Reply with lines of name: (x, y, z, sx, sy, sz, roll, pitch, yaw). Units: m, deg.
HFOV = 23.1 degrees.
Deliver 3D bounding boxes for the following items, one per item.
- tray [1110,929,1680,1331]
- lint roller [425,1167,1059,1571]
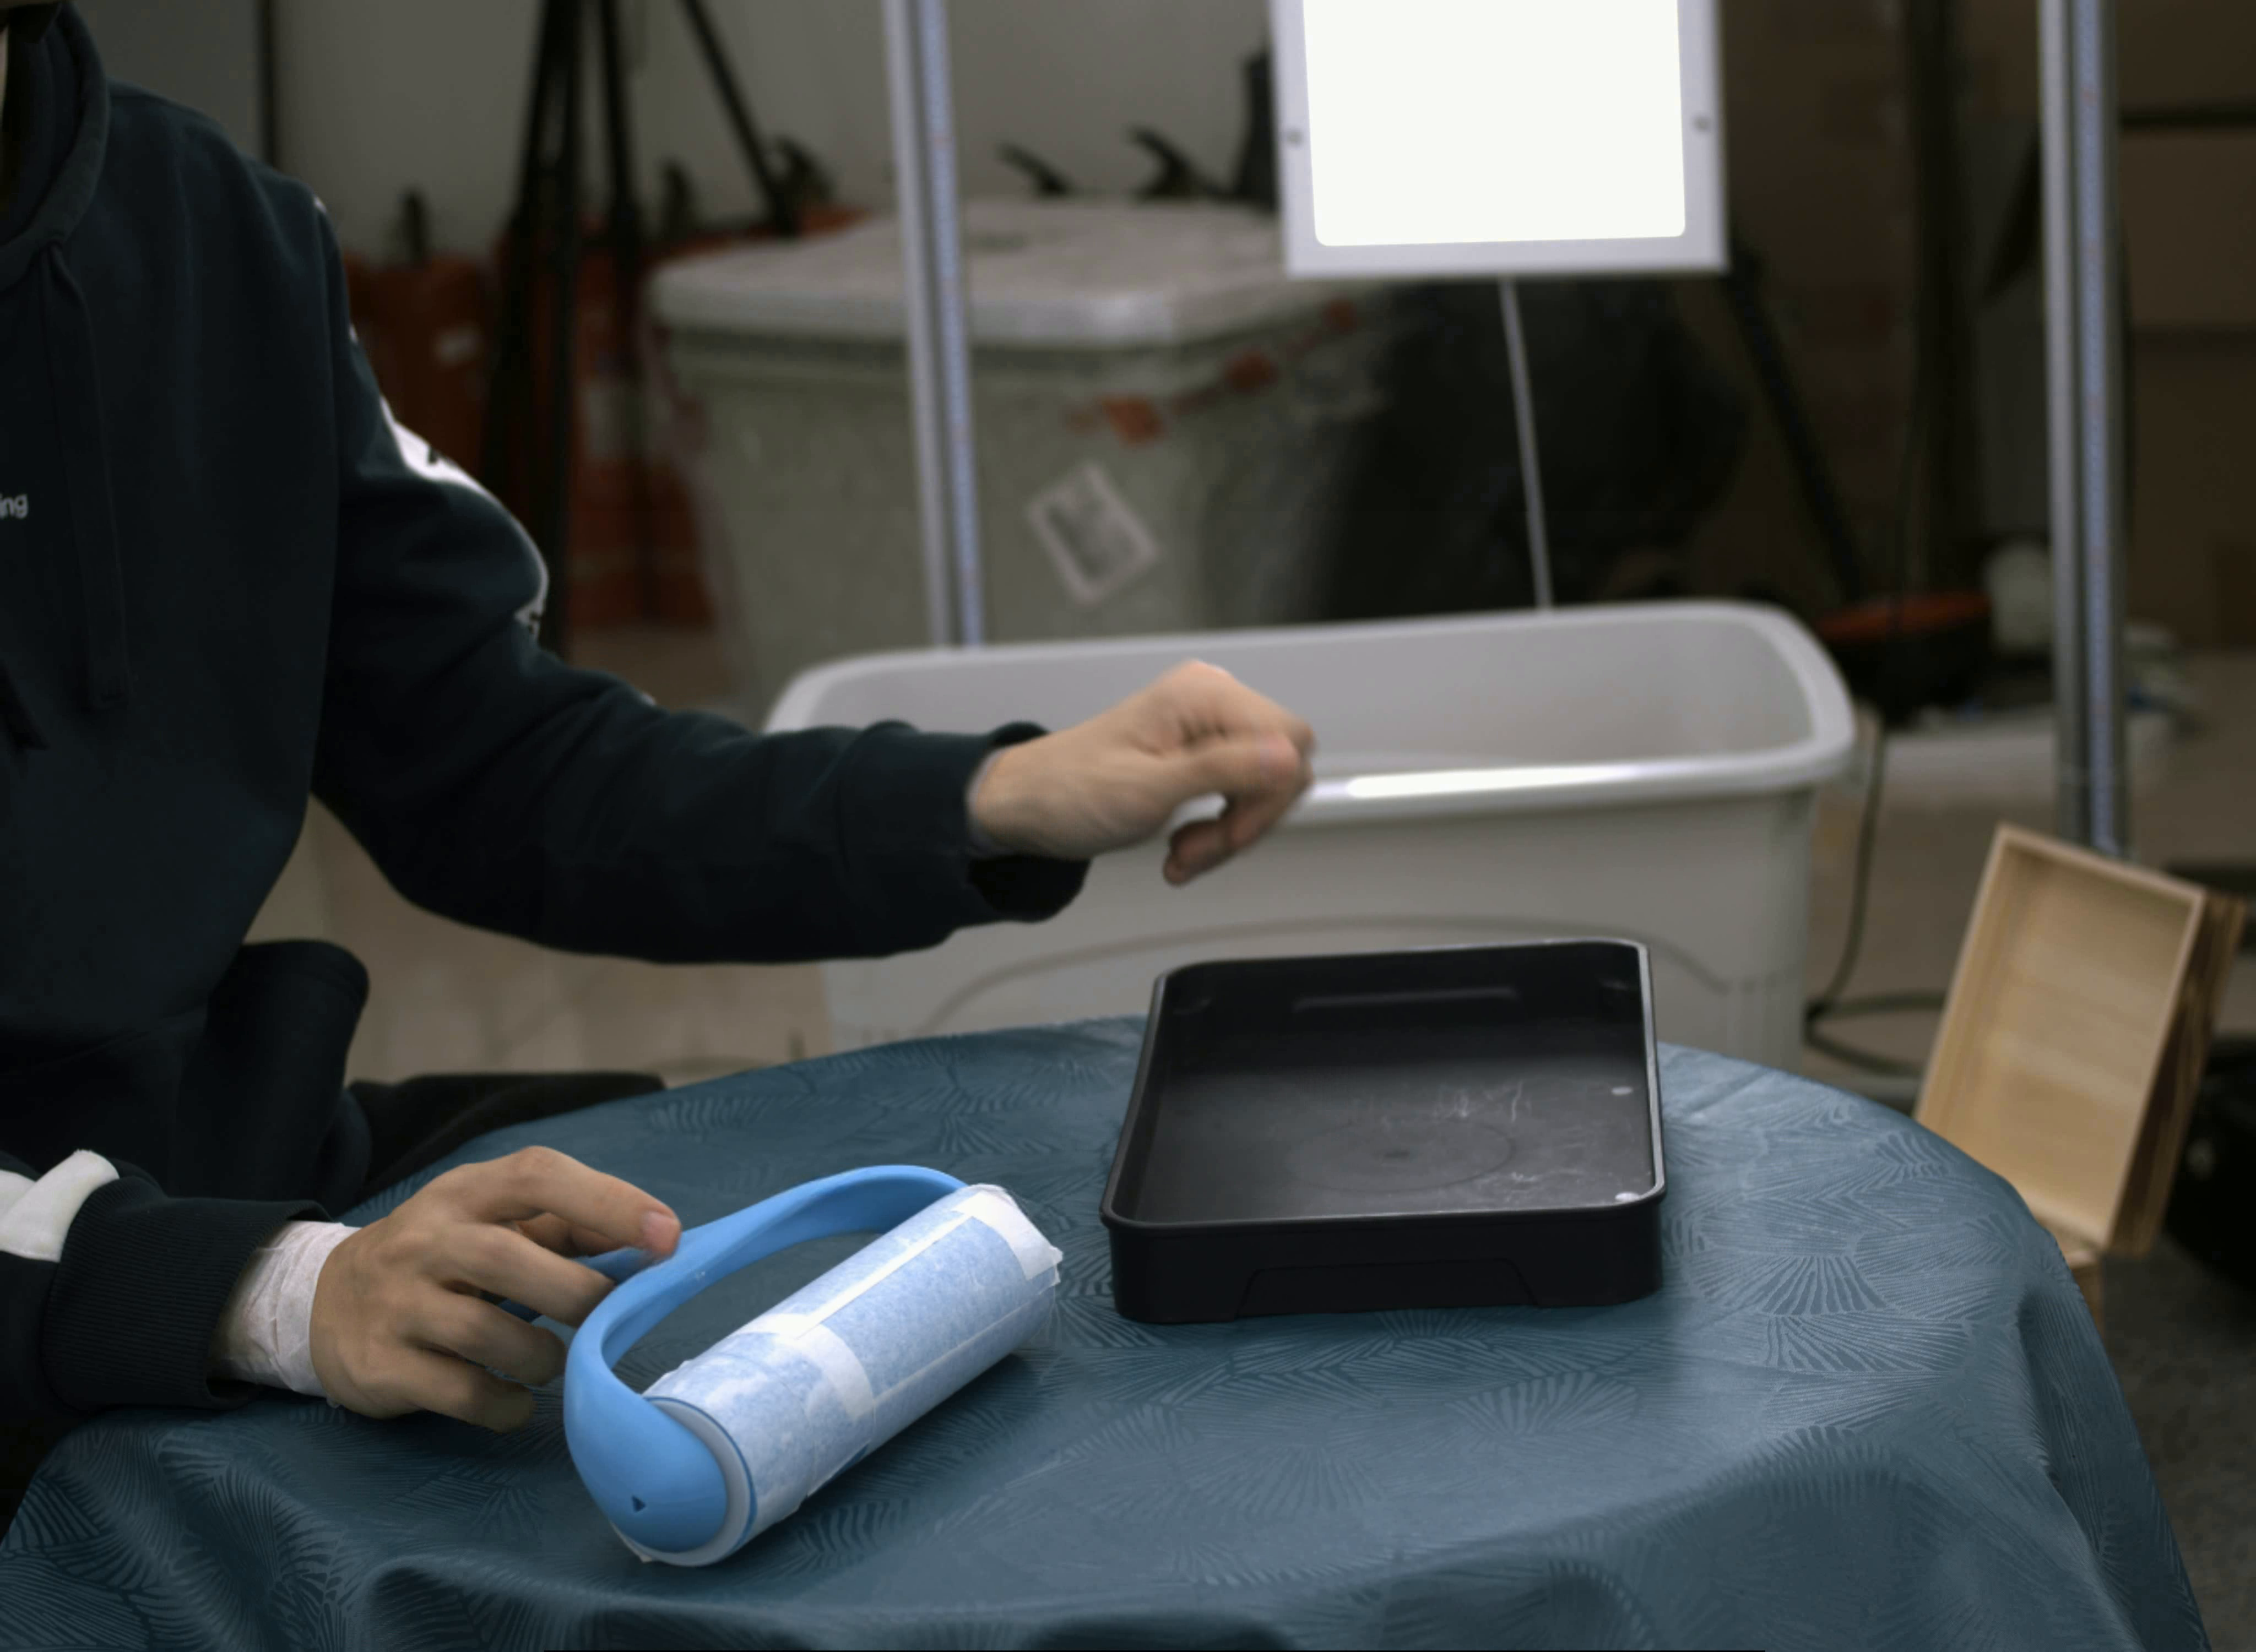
tray: (0.093, 0.100, 1.895, 0.184, 0.037, 0.316, -5, 15, 5)
lint roller: (-0.141, 0.161, 1.688, 0.183, 0.068, 0.224, 2, 18, 25)
